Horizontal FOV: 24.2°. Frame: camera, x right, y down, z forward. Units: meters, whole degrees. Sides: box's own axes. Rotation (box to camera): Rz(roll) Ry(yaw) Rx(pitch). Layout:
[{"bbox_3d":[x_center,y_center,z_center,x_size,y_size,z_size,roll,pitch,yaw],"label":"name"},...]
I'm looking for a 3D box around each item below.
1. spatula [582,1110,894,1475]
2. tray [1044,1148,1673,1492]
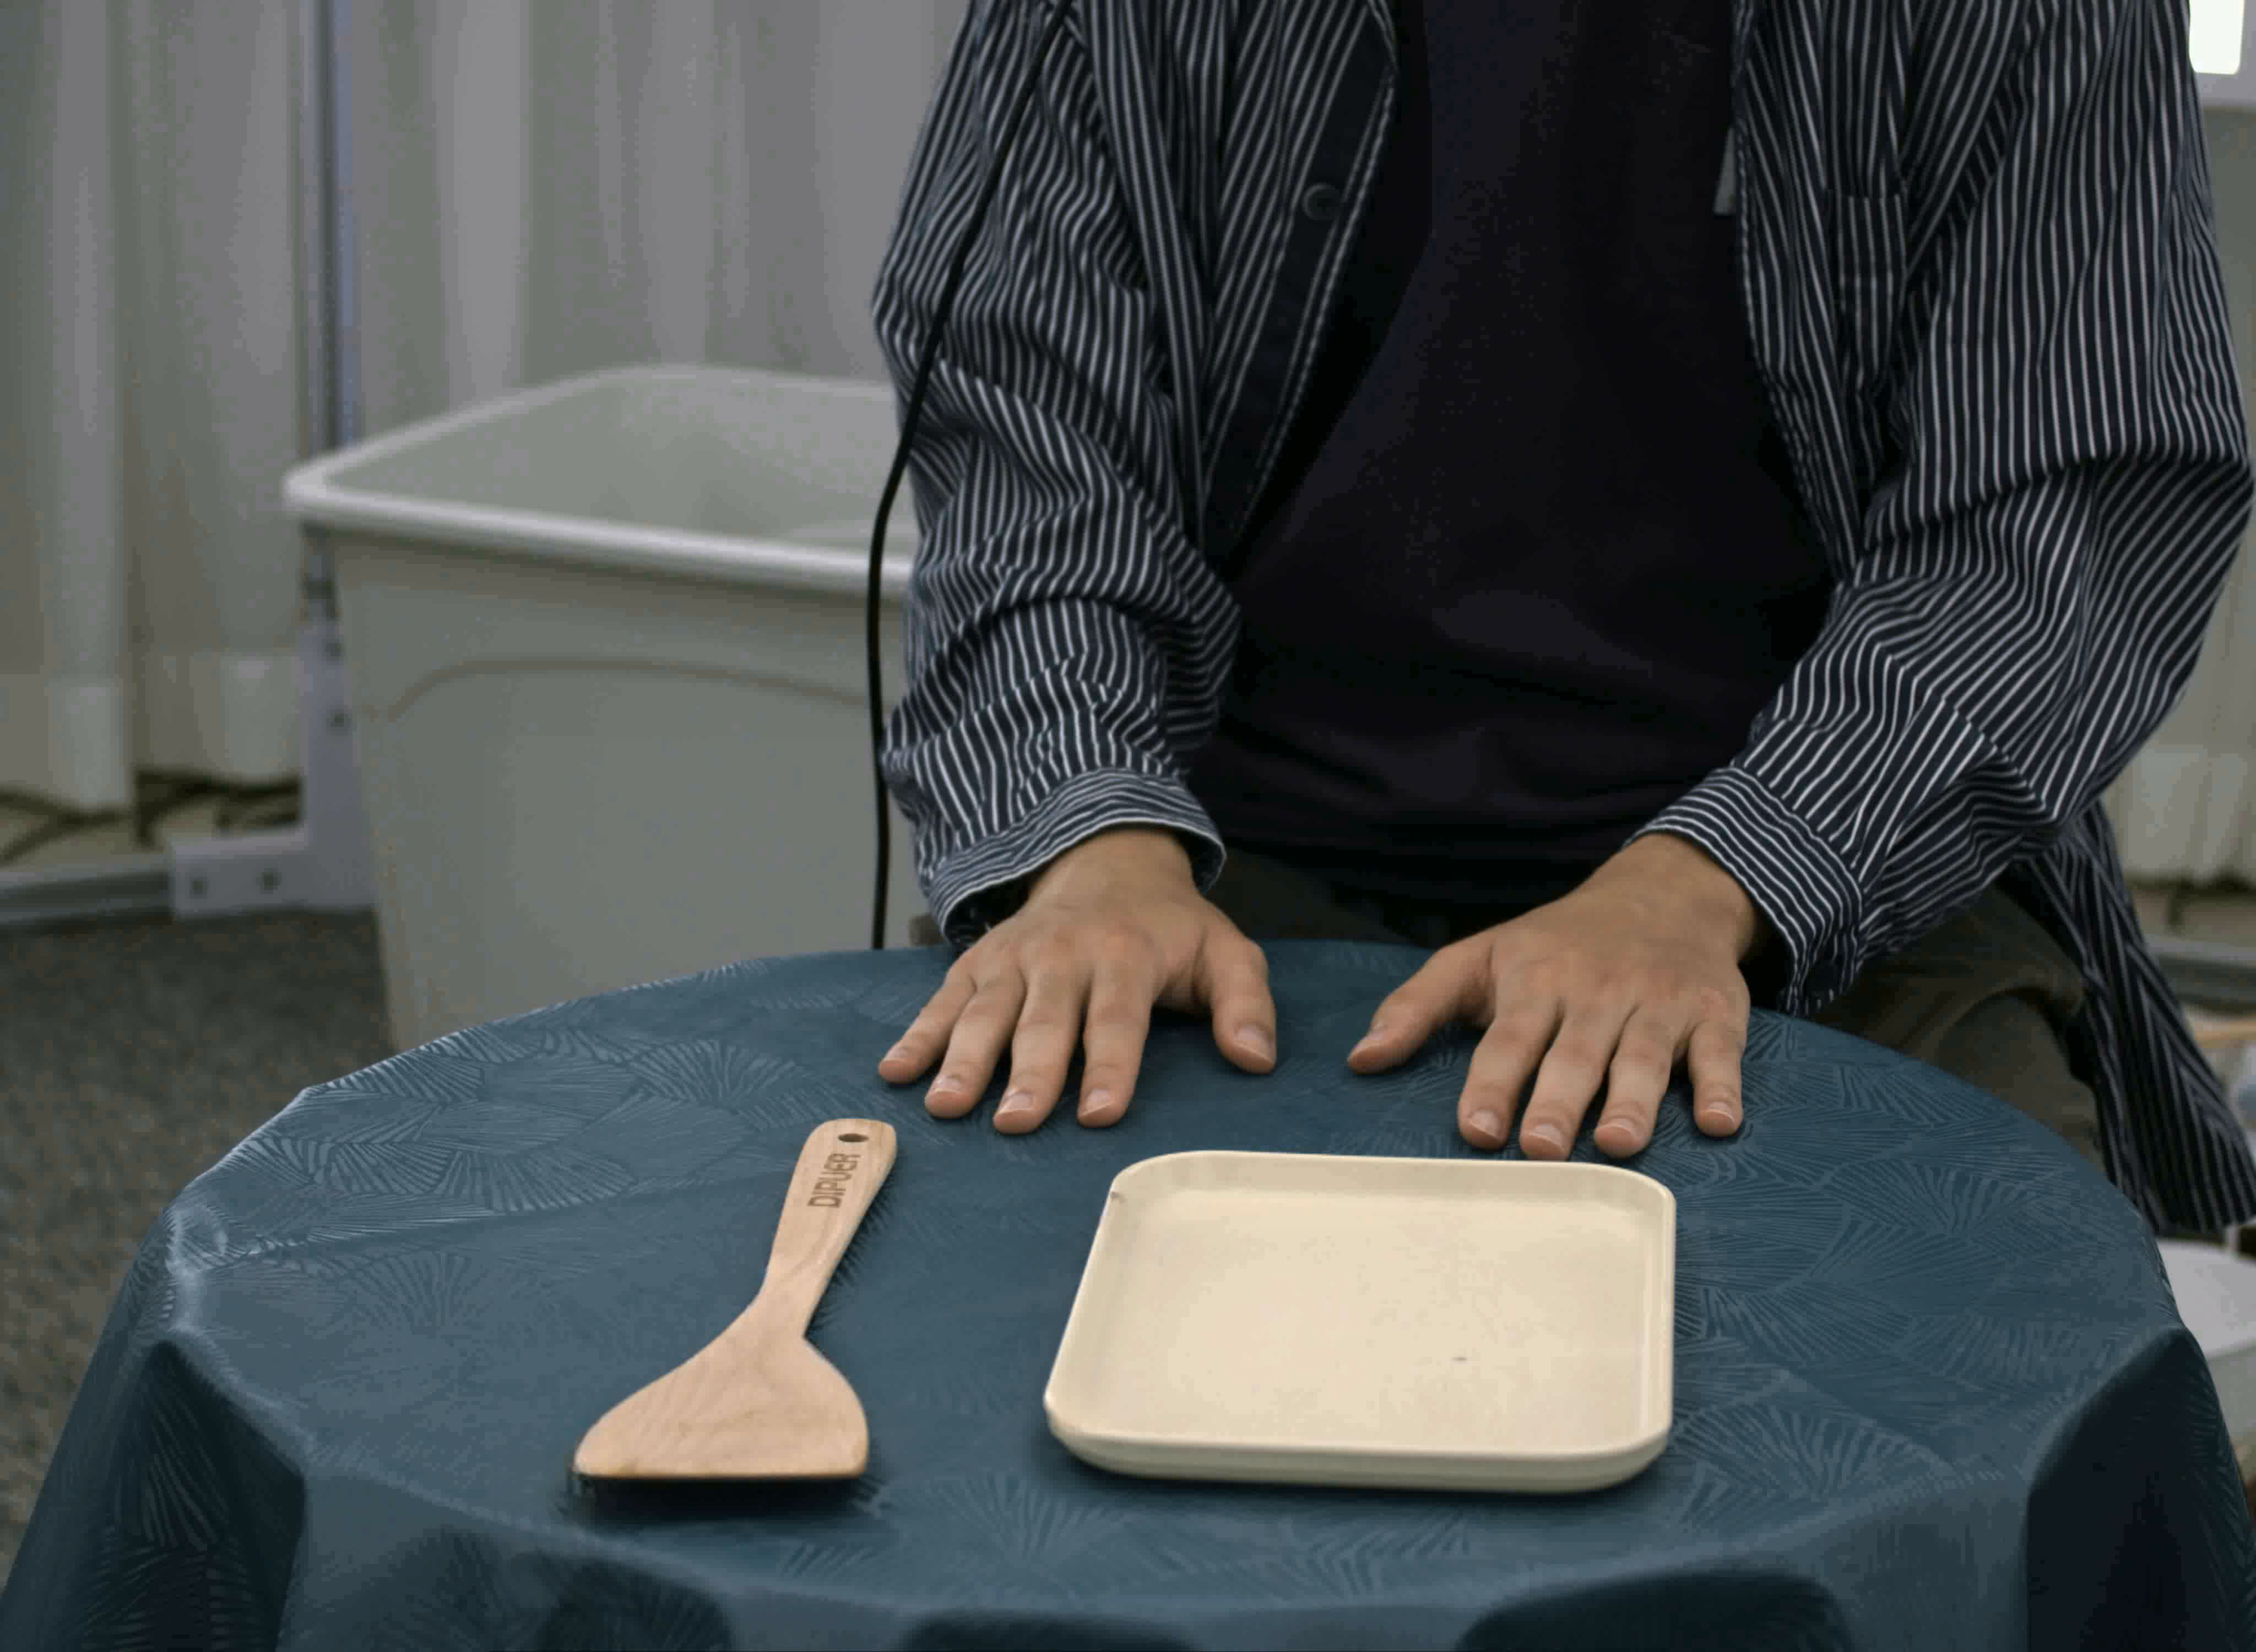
[{"bbox_3d":[-0.095,0.132,1.522,0.079,0.016,0.326,2,15,3],"label":"spatula"},{"bbox_3d":[0.070,0.139,1.500,0.170,0.017,0.239,3,15,5],"label":"tray"}]
